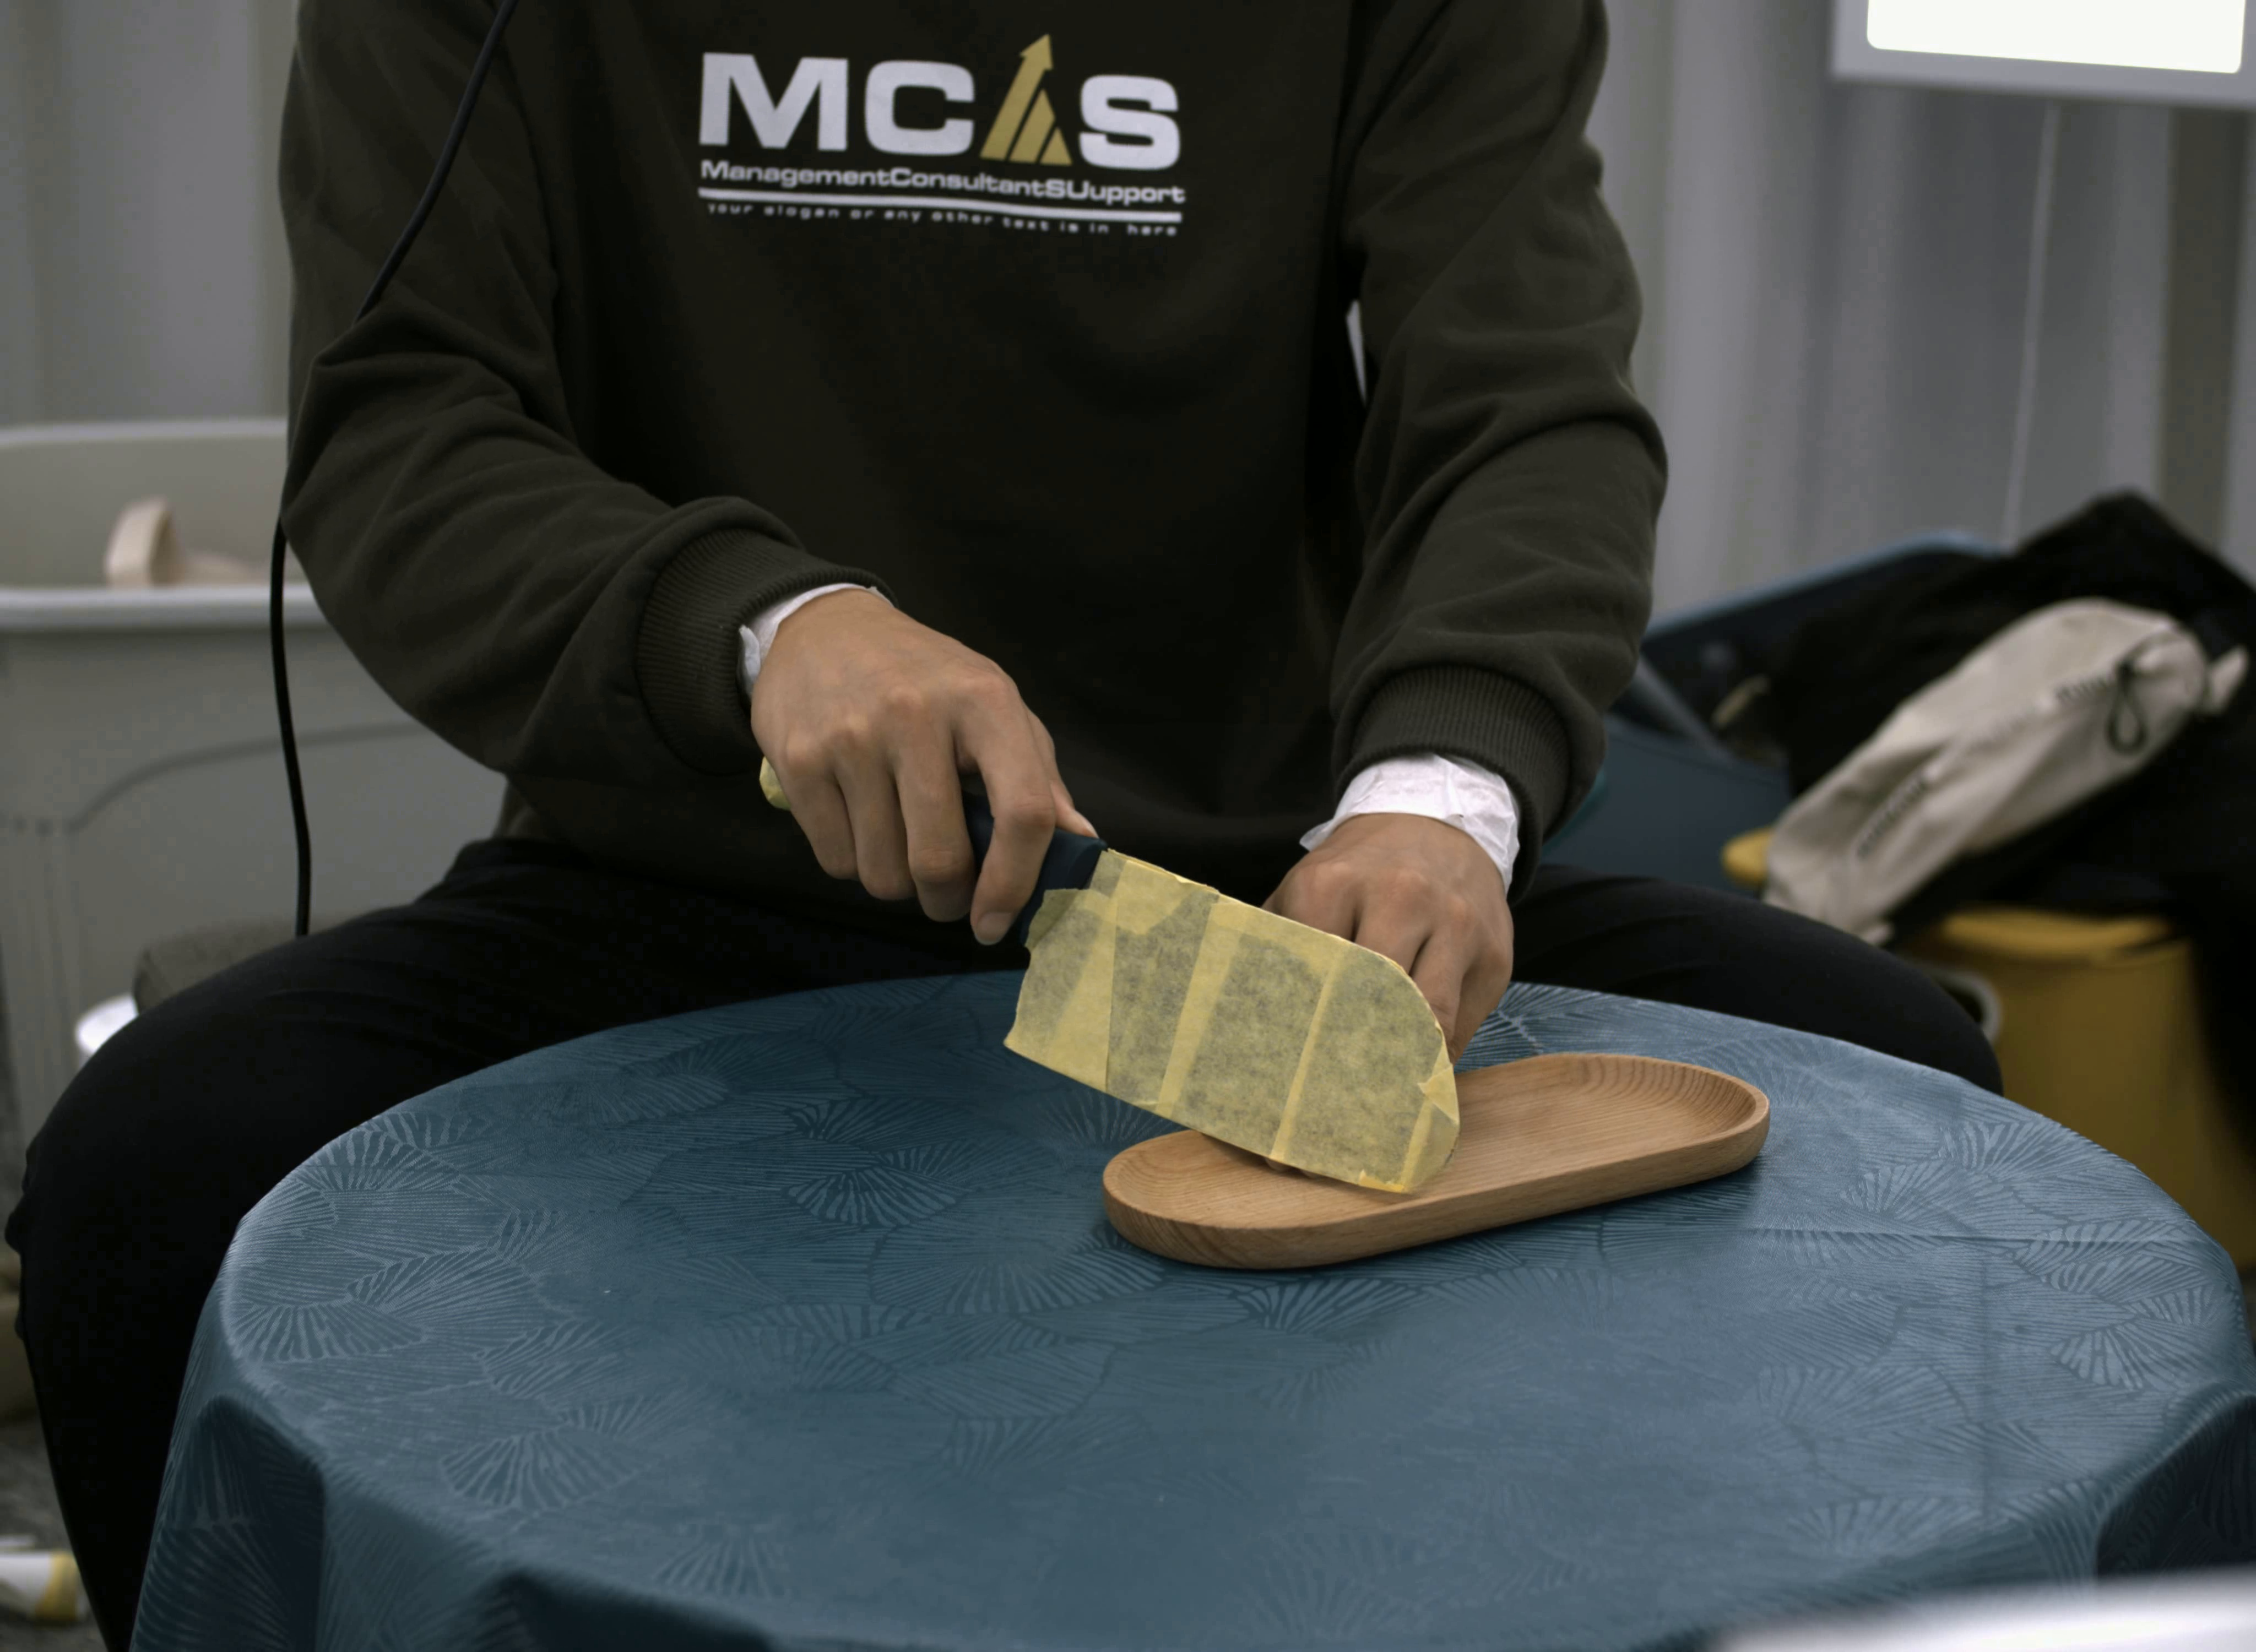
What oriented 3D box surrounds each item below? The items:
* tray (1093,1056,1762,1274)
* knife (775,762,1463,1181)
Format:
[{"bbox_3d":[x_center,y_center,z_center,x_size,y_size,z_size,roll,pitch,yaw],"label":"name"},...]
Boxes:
[{"bbox_3d":[0.095,0.104,1.629,0.232,0.020,0.100,-11,17,-32],"label":"tray"},{"bbox_3d":[-0.008,0.043,1.661,0.285,0.081,0.027,24,7,34],"label":"knife"}]
